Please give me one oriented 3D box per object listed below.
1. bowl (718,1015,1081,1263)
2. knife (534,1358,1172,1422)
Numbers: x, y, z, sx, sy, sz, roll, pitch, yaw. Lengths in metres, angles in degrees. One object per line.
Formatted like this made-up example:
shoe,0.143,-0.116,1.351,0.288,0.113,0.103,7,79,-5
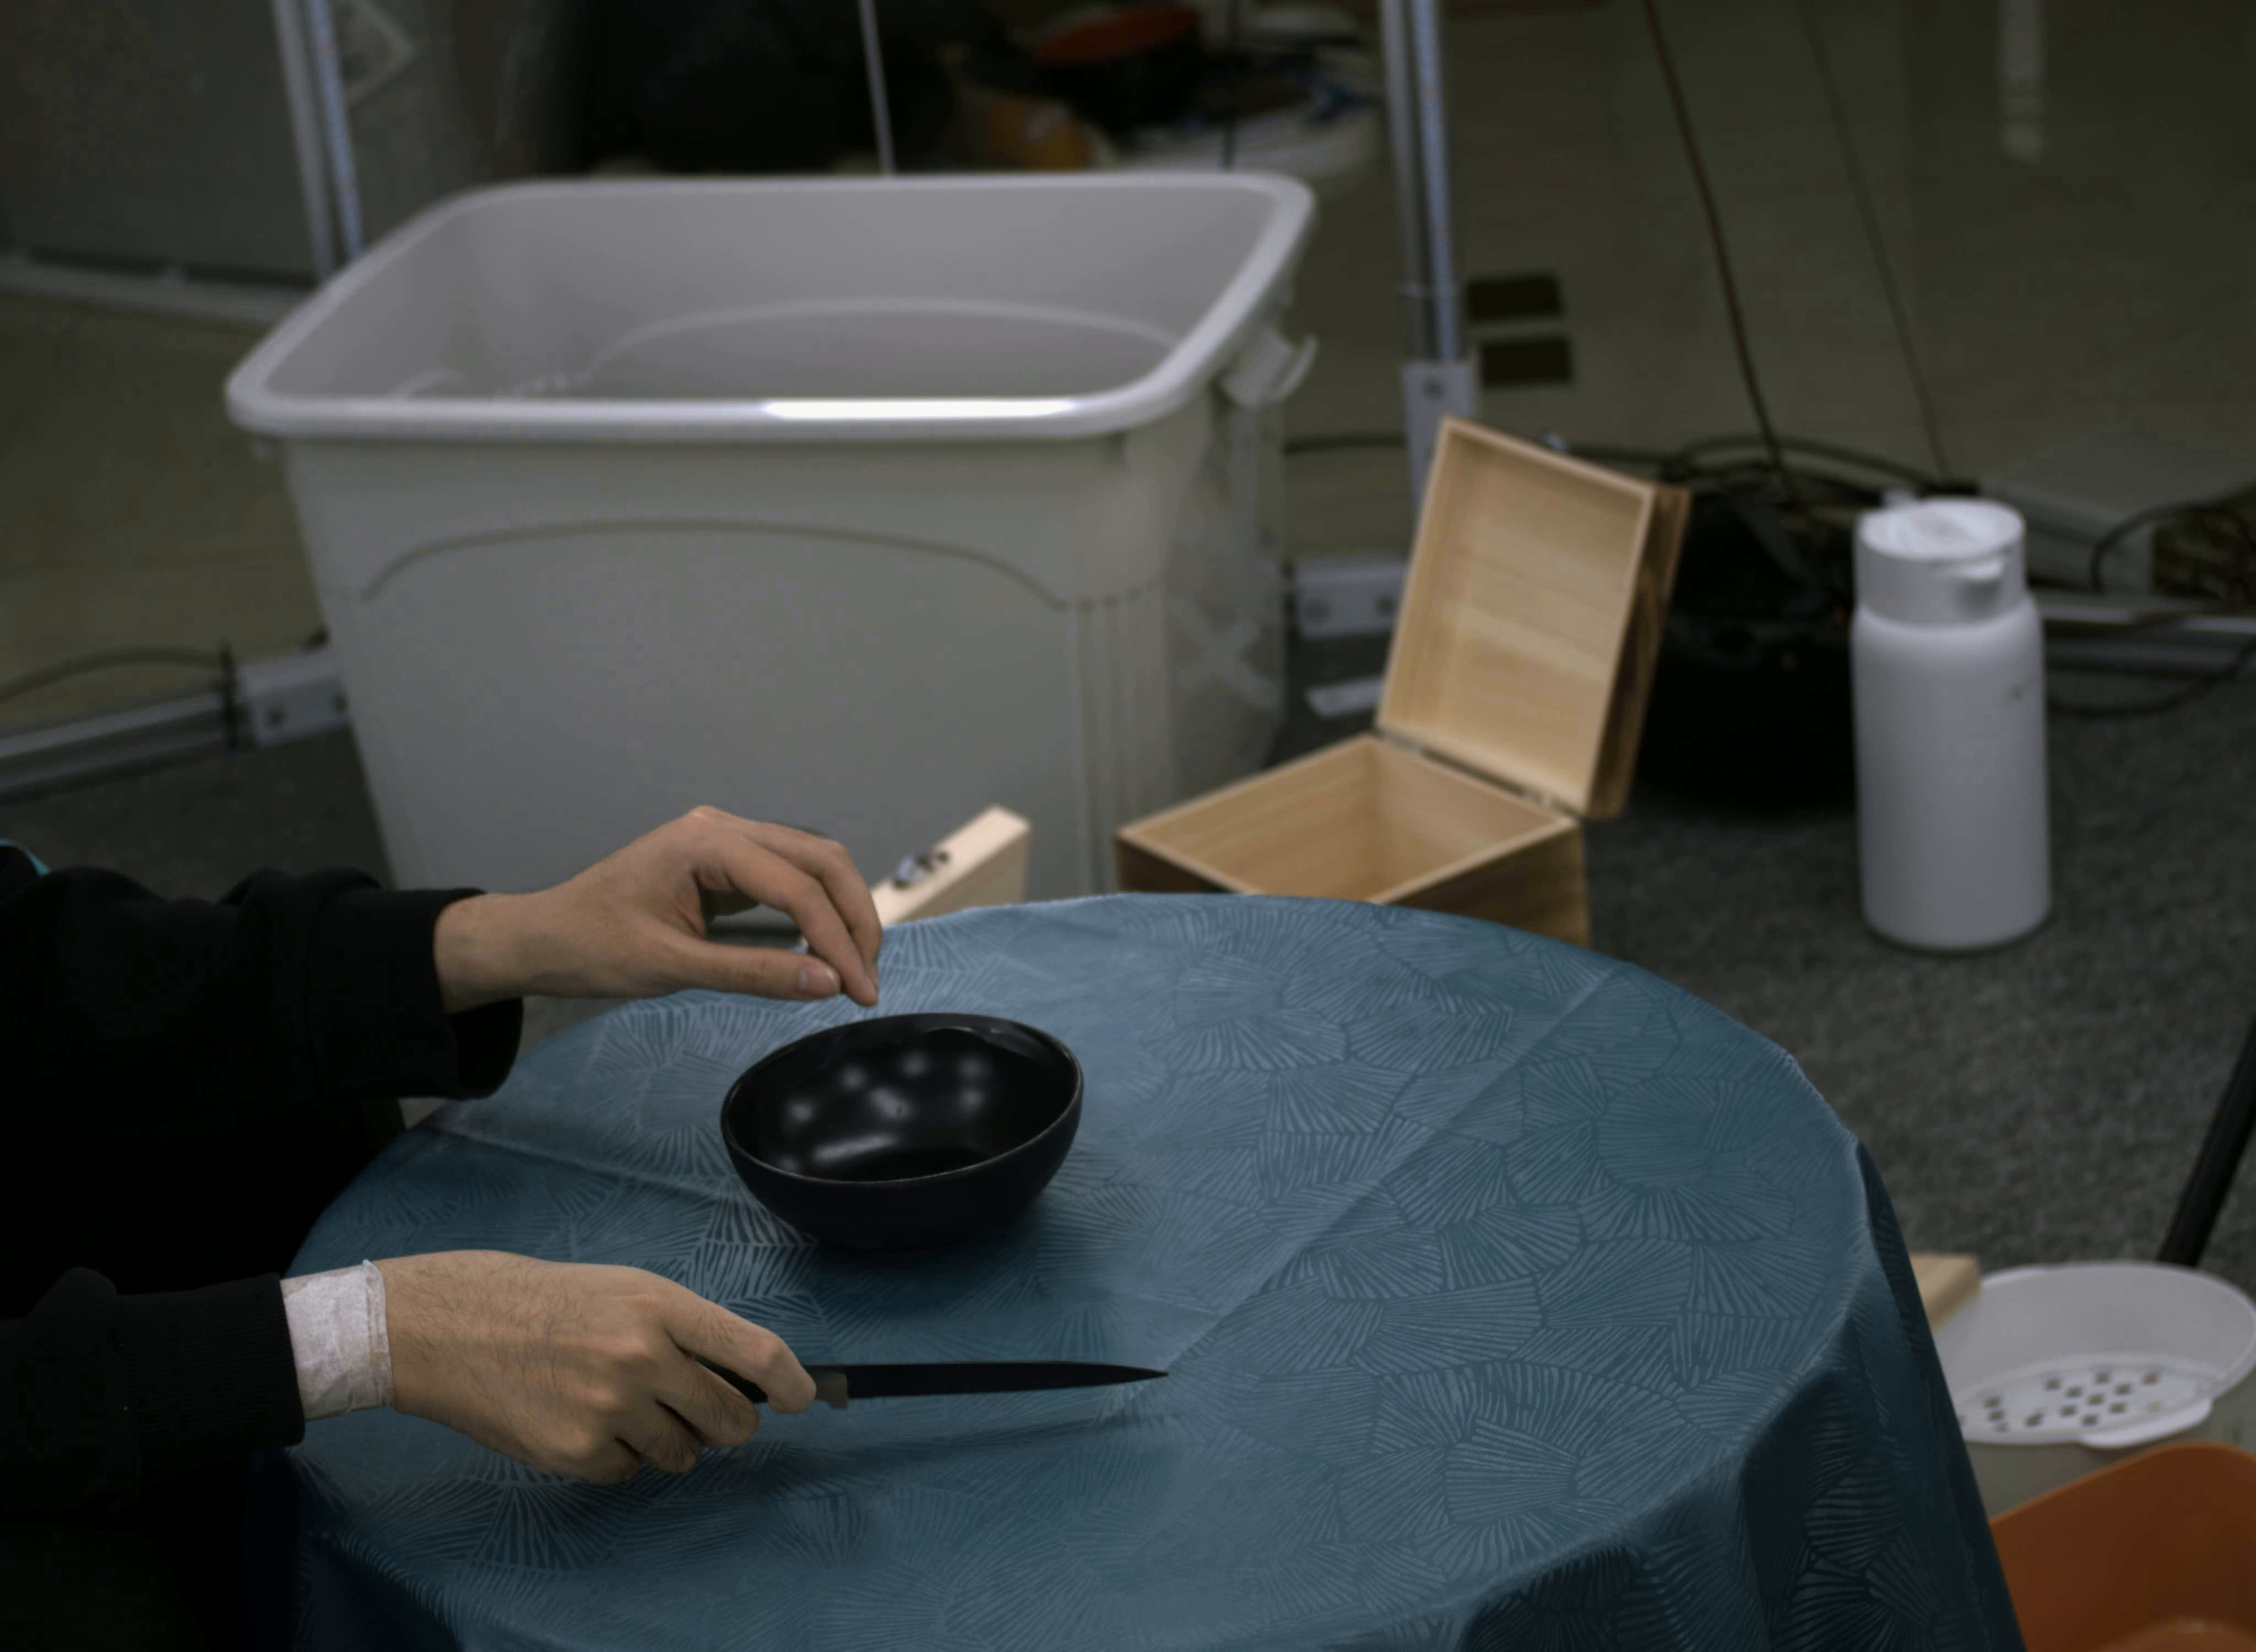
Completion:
bowl,-0.083,0.126,2.143,0.140,0.050,0.138,-9,27,5
knife,-0.095,0.197,1.991,0.225,0.027,0.017,-1,50,-7
